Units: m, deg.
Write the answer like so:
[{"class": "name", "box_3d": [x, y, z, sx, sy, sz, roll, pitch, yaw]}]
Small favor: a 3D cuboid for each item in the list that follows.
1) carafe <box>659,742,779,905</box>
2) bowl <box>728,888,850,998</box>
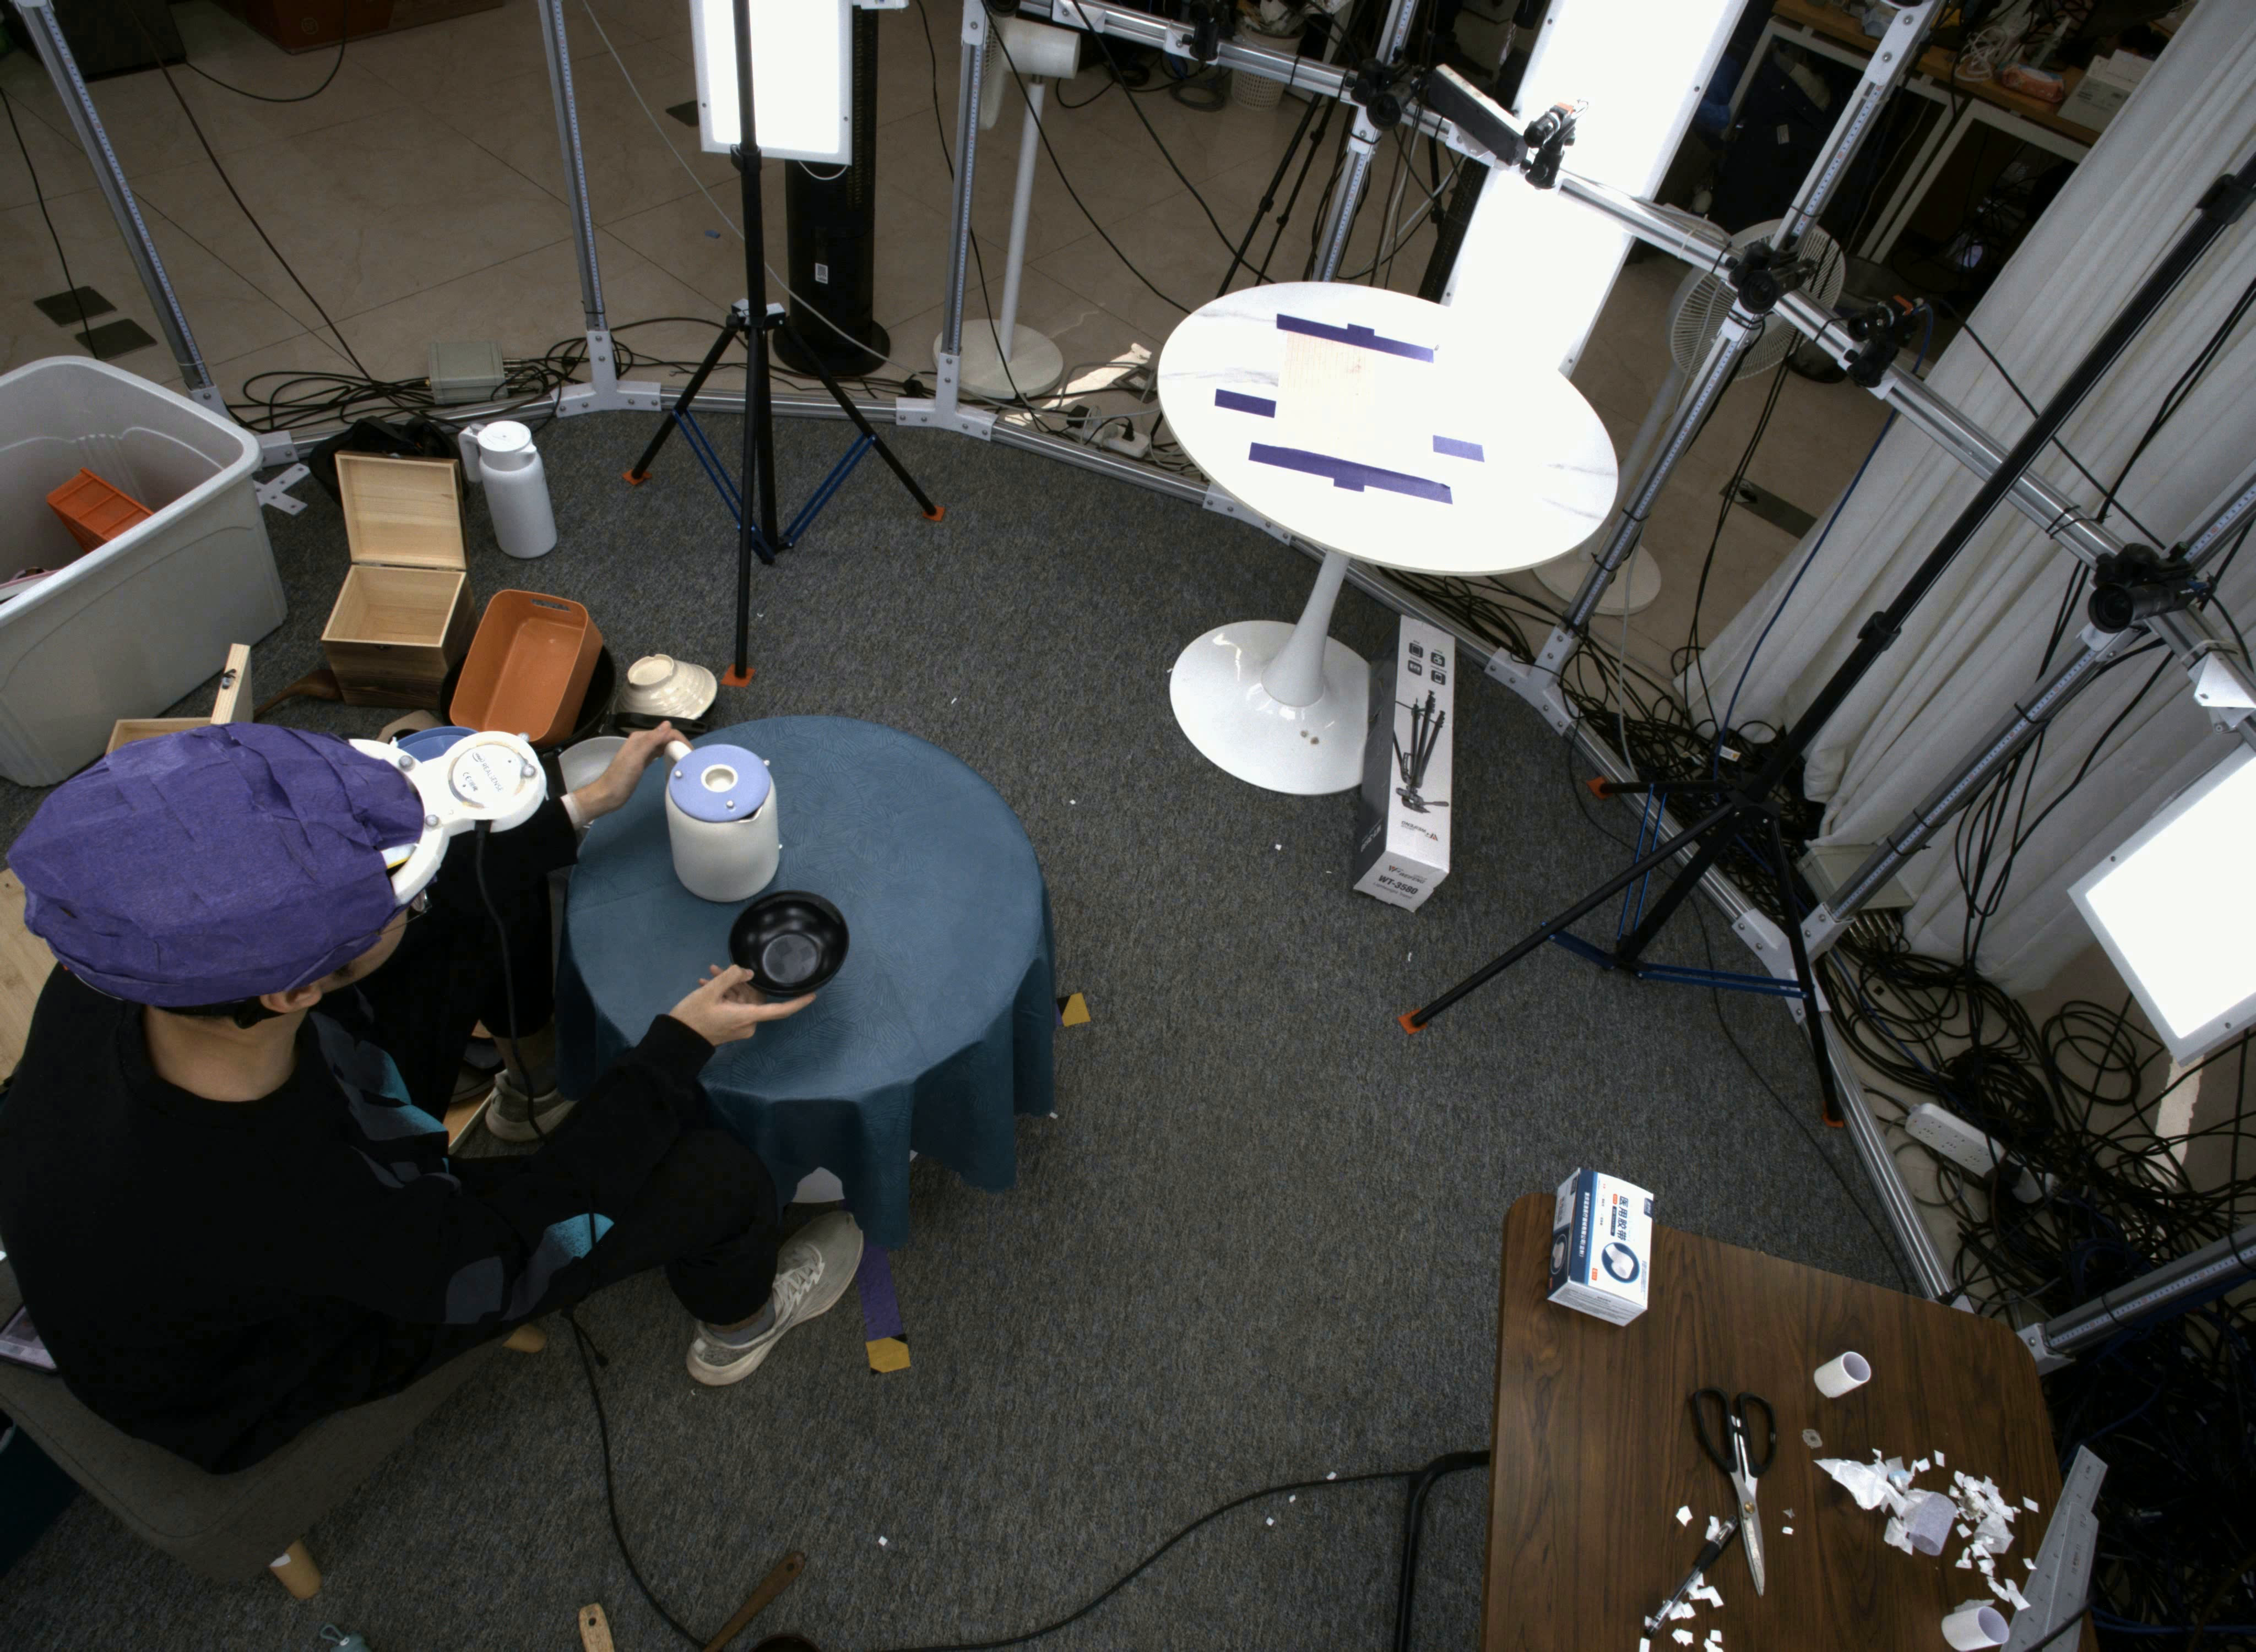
[{"class": "carafe", "box_3d": [-0.521, -0.019, 1.608, 0.186, 0.187, 0.132, 38, 53, 19]}, {"class": "bowl", "box_3d": [-0.397, 0.143, 1.522, 0.139, 0.051, 0.138, 6, 57, -7]}]
